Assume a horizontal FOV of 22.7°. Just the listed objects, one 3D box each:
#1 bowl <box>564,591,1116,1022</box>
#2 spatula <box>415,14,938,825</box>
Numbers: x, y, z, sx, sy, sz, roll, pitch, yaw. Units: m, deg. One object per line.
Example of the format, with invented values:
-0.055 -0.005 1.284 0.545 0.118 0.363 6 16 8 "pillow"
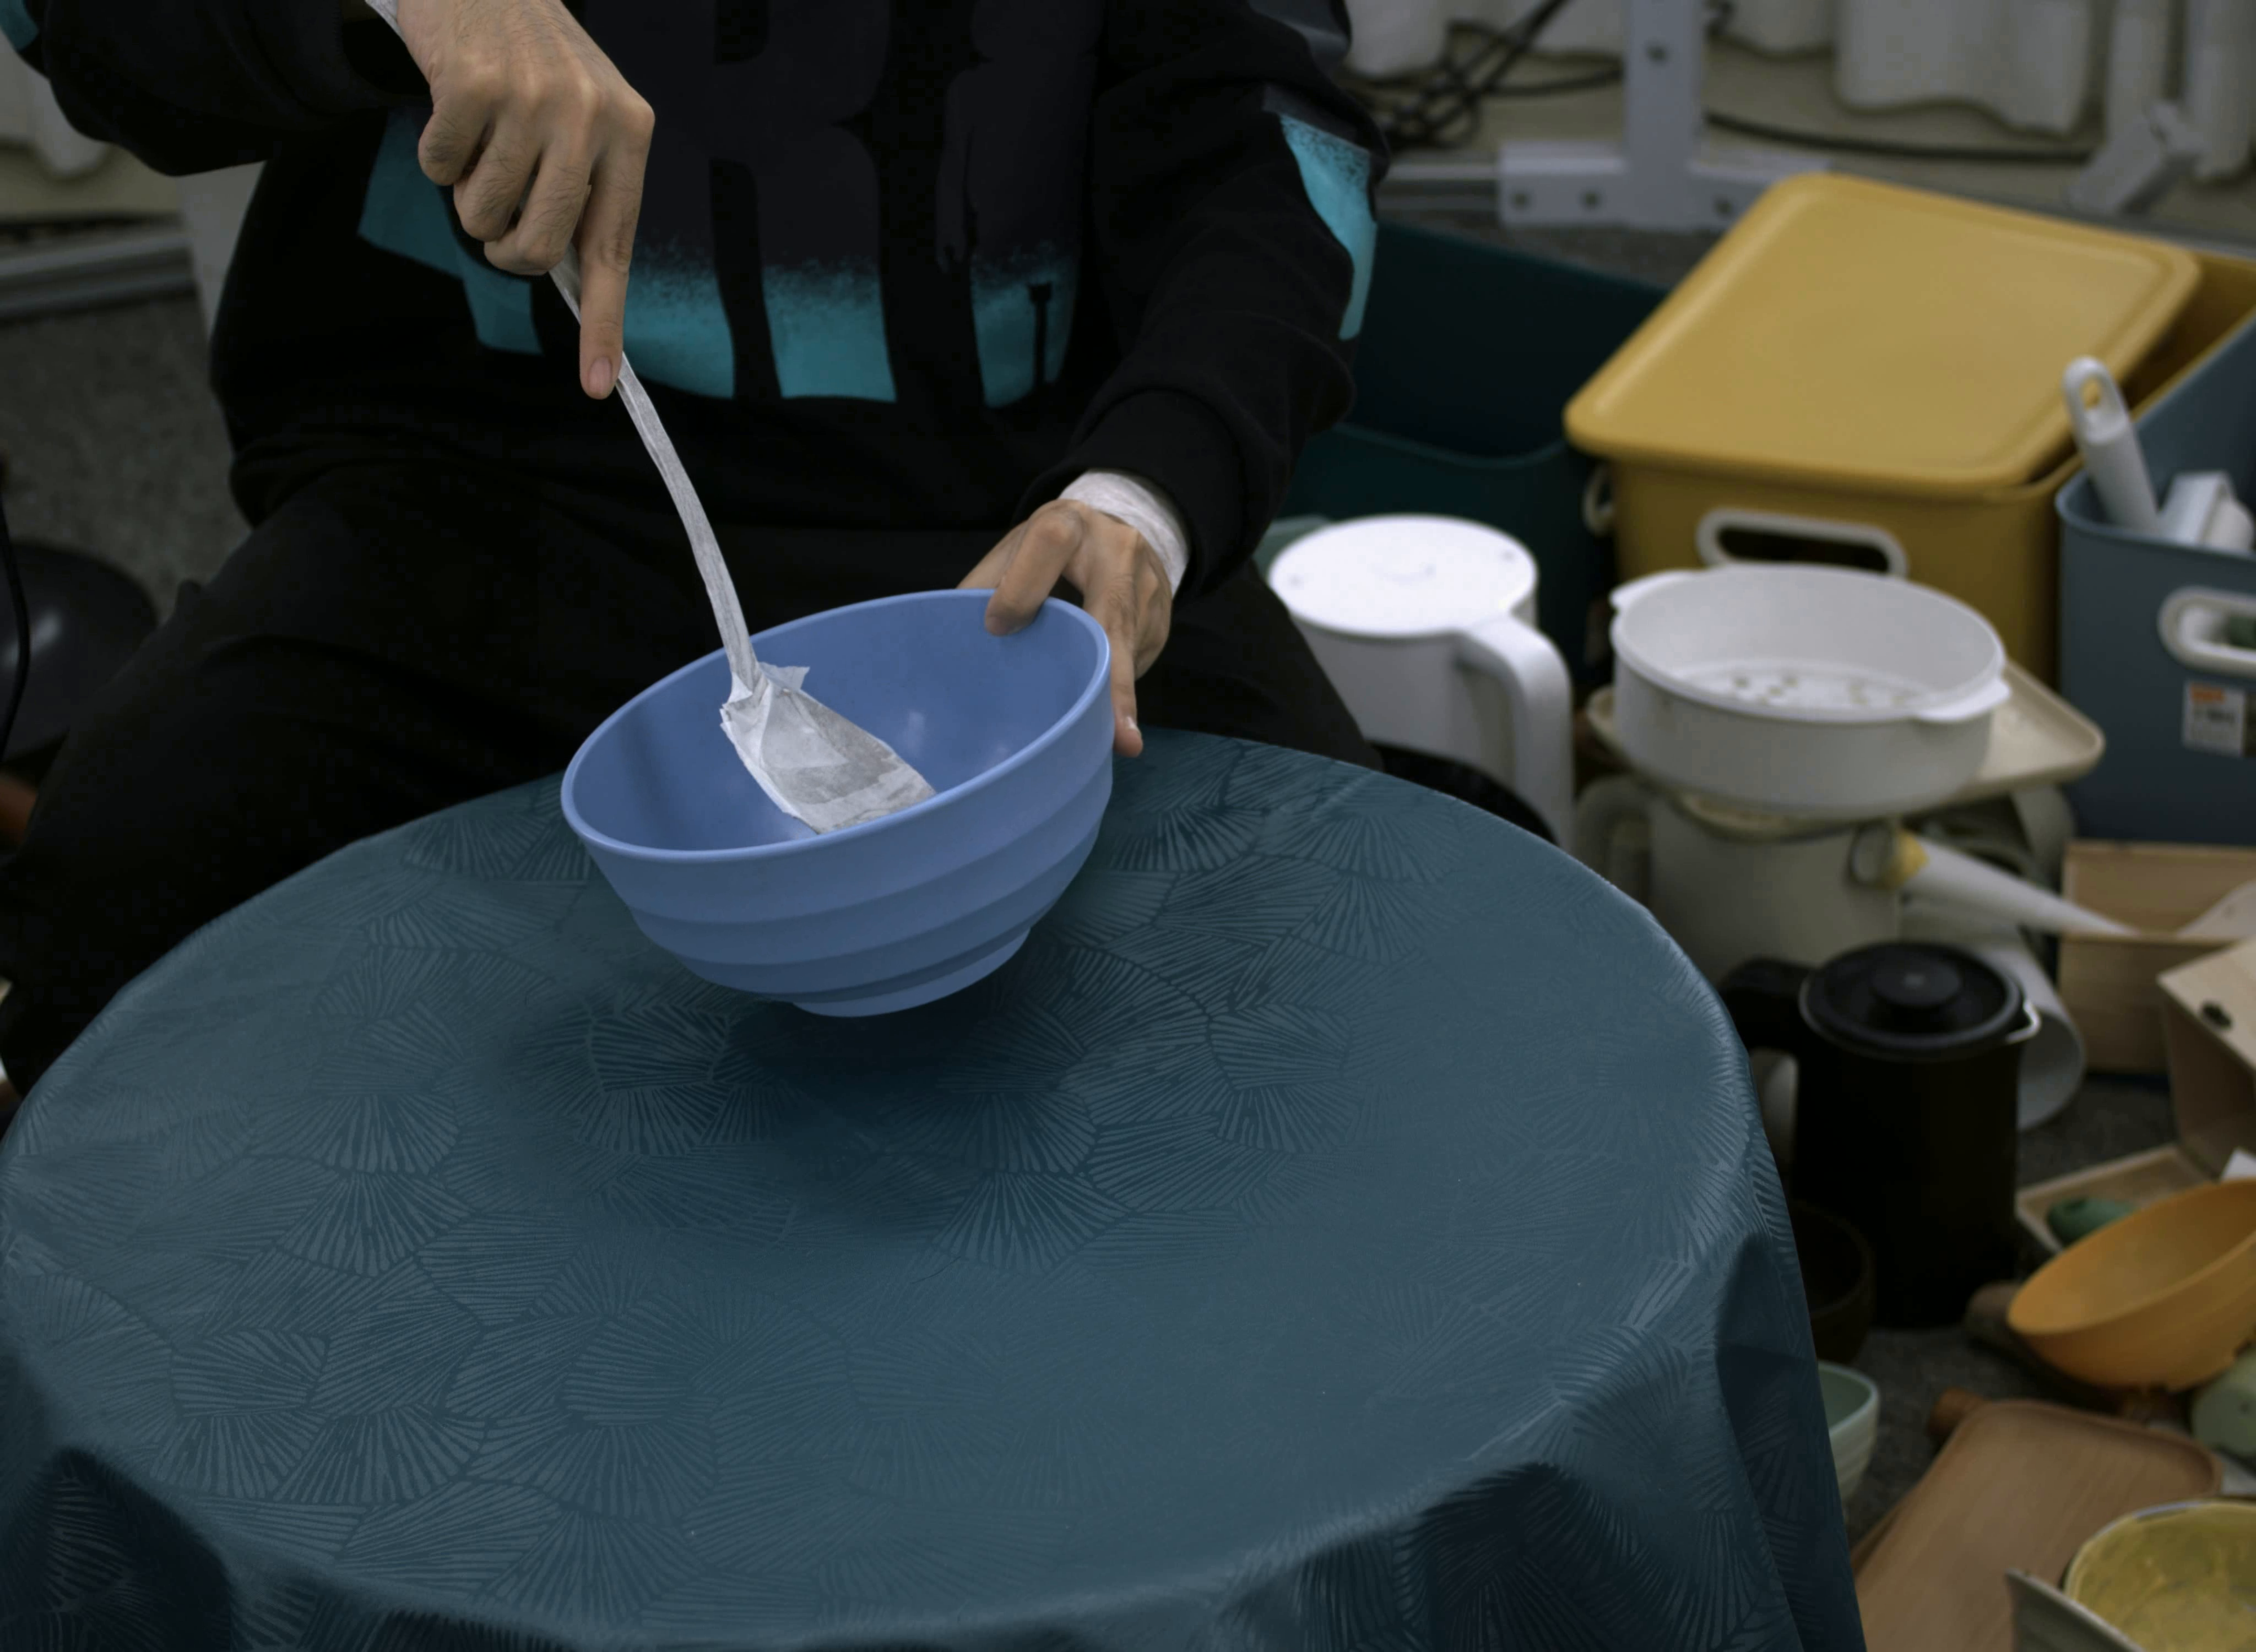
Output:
-0.088 0.004 1.944 0.195 0.095 0.199 -14 23 7 "bowl"
-0.154 -0.130 1.936 0.044 0.367 0.099 -31 -8 27 "spatula"
